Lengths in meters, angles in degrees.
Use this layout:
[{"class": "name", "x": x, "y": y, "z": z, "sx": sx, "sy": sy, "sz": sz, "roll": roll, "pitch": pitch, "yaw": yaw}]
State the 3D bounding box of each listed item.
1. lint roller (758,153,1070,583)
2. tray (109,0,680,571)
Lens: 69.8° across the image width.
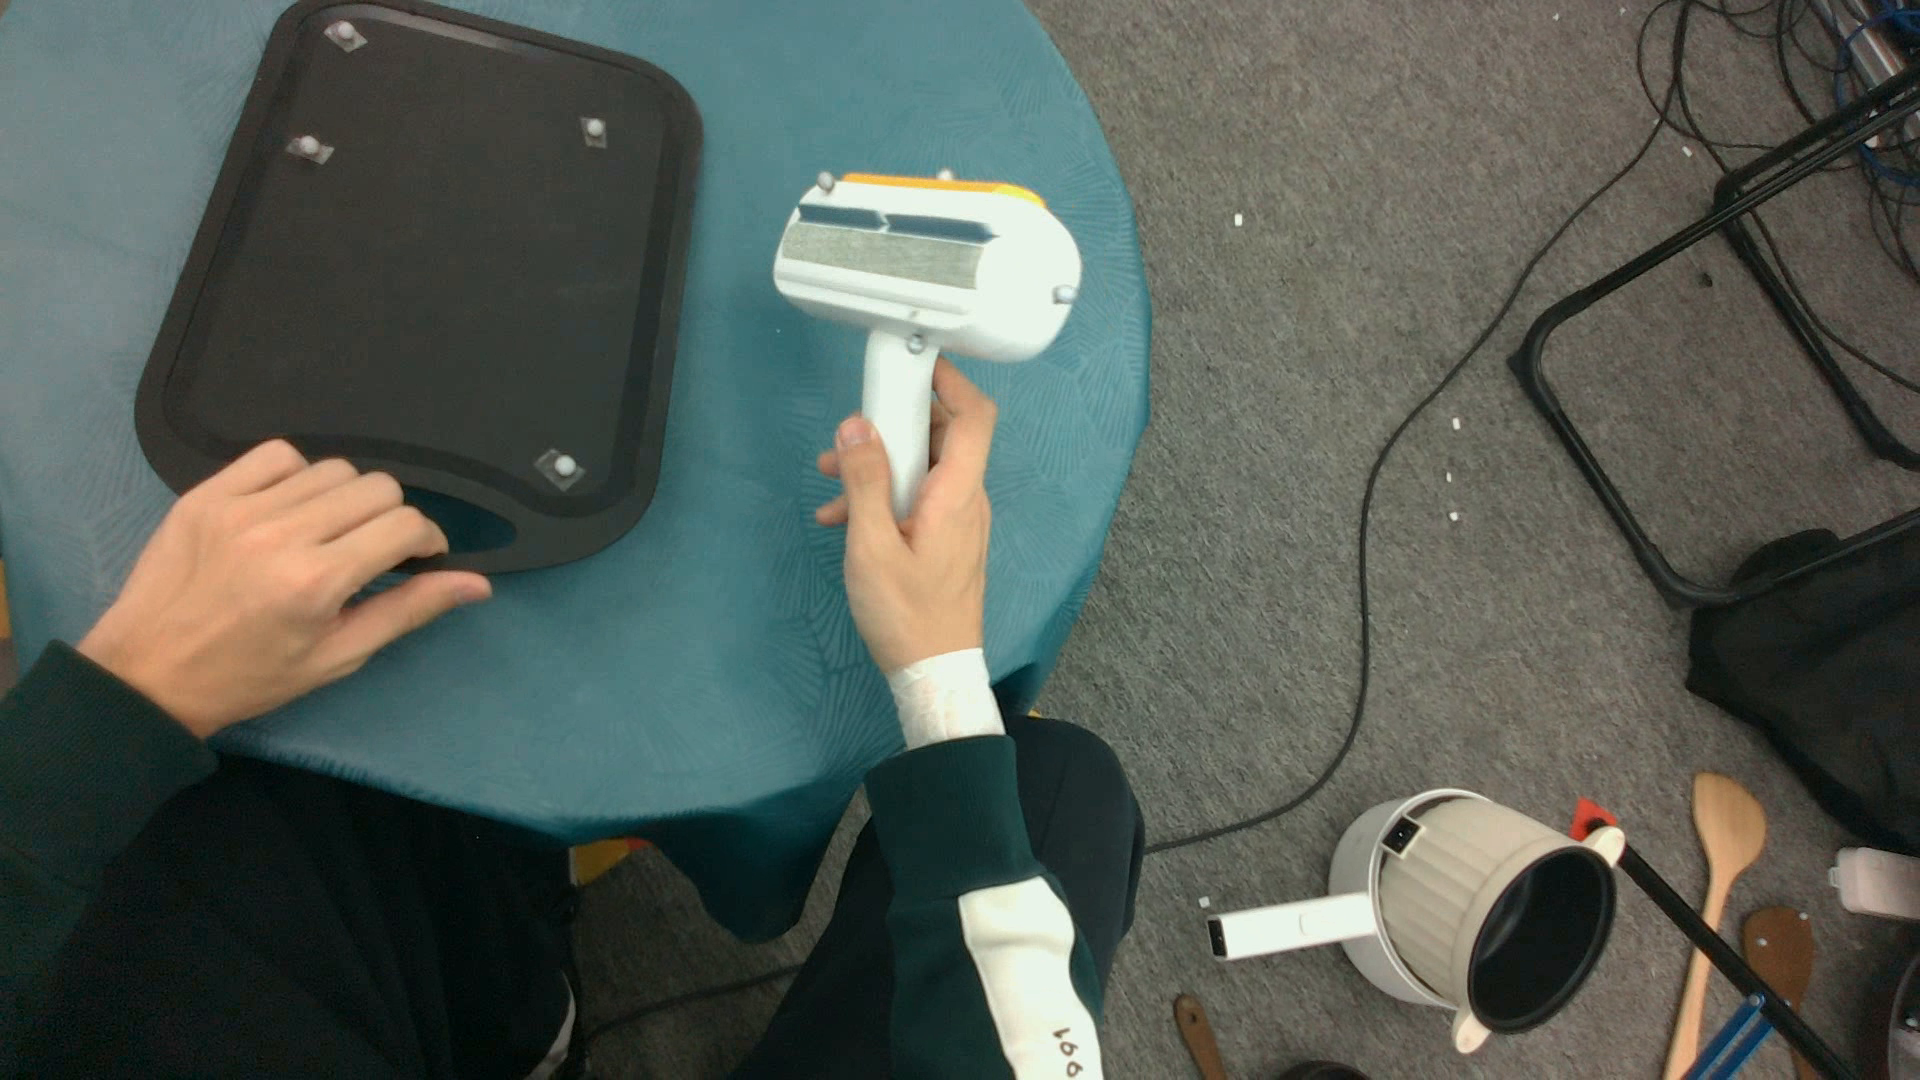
[{"class": "lint roller", "x": -0.039, "y": -0.073, "z": 0.630, "sx": 0.074, "sy": 0.193, "sz": 0.192, "roll": 9, "pitch": 102, "yaw": -43}, {"class": "tray", "x": -0.245, "y": -0.132, "z": 0.638, "sx": 0.211, "sy": 0.010, "sz": 0.326, "roll": 10, "pitch": 59, "yaw": -17}]
